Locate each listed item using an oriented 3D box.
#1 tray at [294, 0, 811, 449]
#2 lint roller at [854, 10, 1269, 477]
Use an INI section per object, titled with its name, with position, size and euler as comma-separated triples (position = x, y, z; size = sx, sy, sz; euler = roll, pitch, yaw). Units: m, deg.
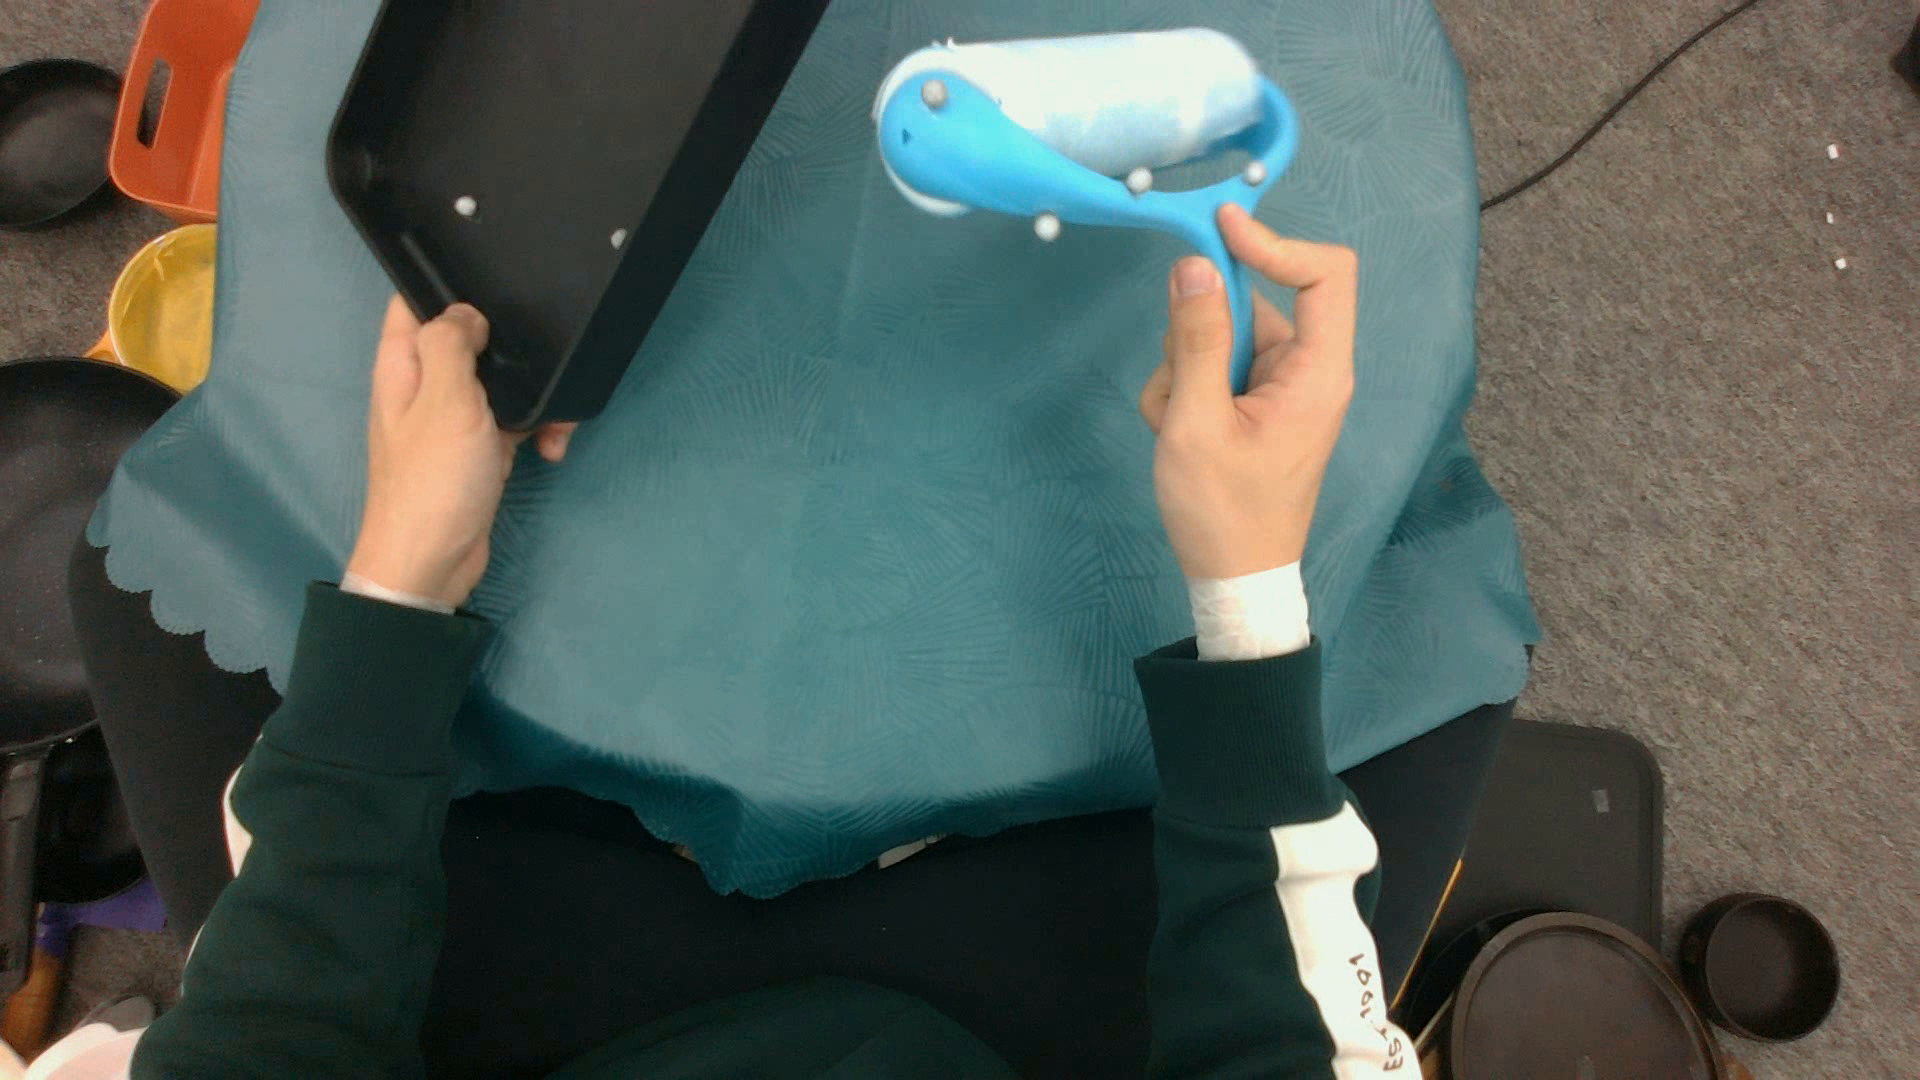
[tray]
position = -0.151, -0.205, 0.527
size = 0.184, 0.037, 0.316
euler = 47, 118, 20
[lint roller]
position = 0.069, -0.116, 0.527
size = 0.230, 0.067, 0.180
euler = -33, 97, -50
